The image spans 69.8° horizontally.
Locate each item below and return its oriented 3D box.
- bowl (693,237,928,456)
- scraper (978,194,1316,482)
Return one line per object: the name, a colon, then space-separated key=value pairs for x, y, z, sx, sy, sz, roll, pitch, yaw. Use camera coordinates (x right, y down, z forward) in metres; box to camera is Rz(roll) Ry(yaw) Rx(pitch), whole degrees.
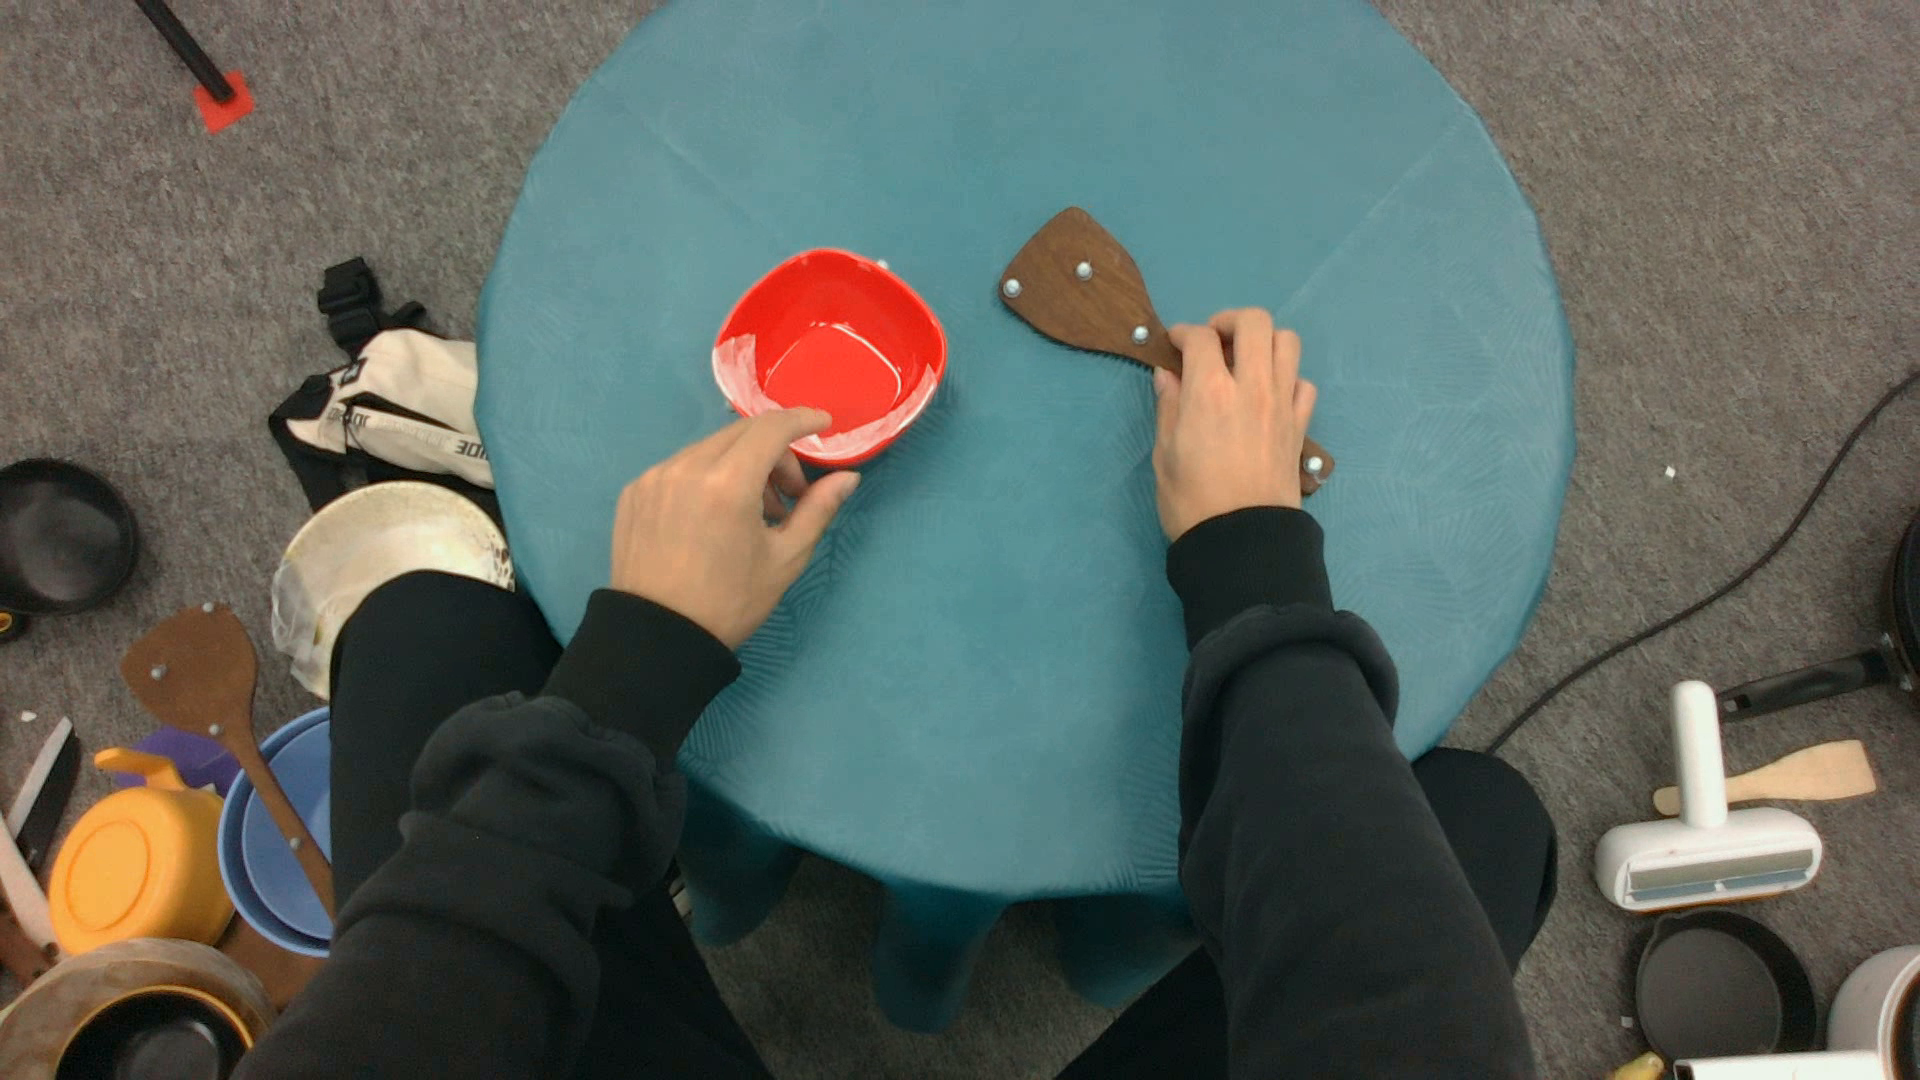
bowl: x=-0.077 y=-0.094 z=0.720 sx=0.119 sy=0.051 sz=0.119 roll=1 pitch=72 yaw=-4
scraper: x=0.107 y=-0.105 z=0.755 sx=0.211 sy=0.011 sz=0.076 roll=40 pitch=76 yaw=8
